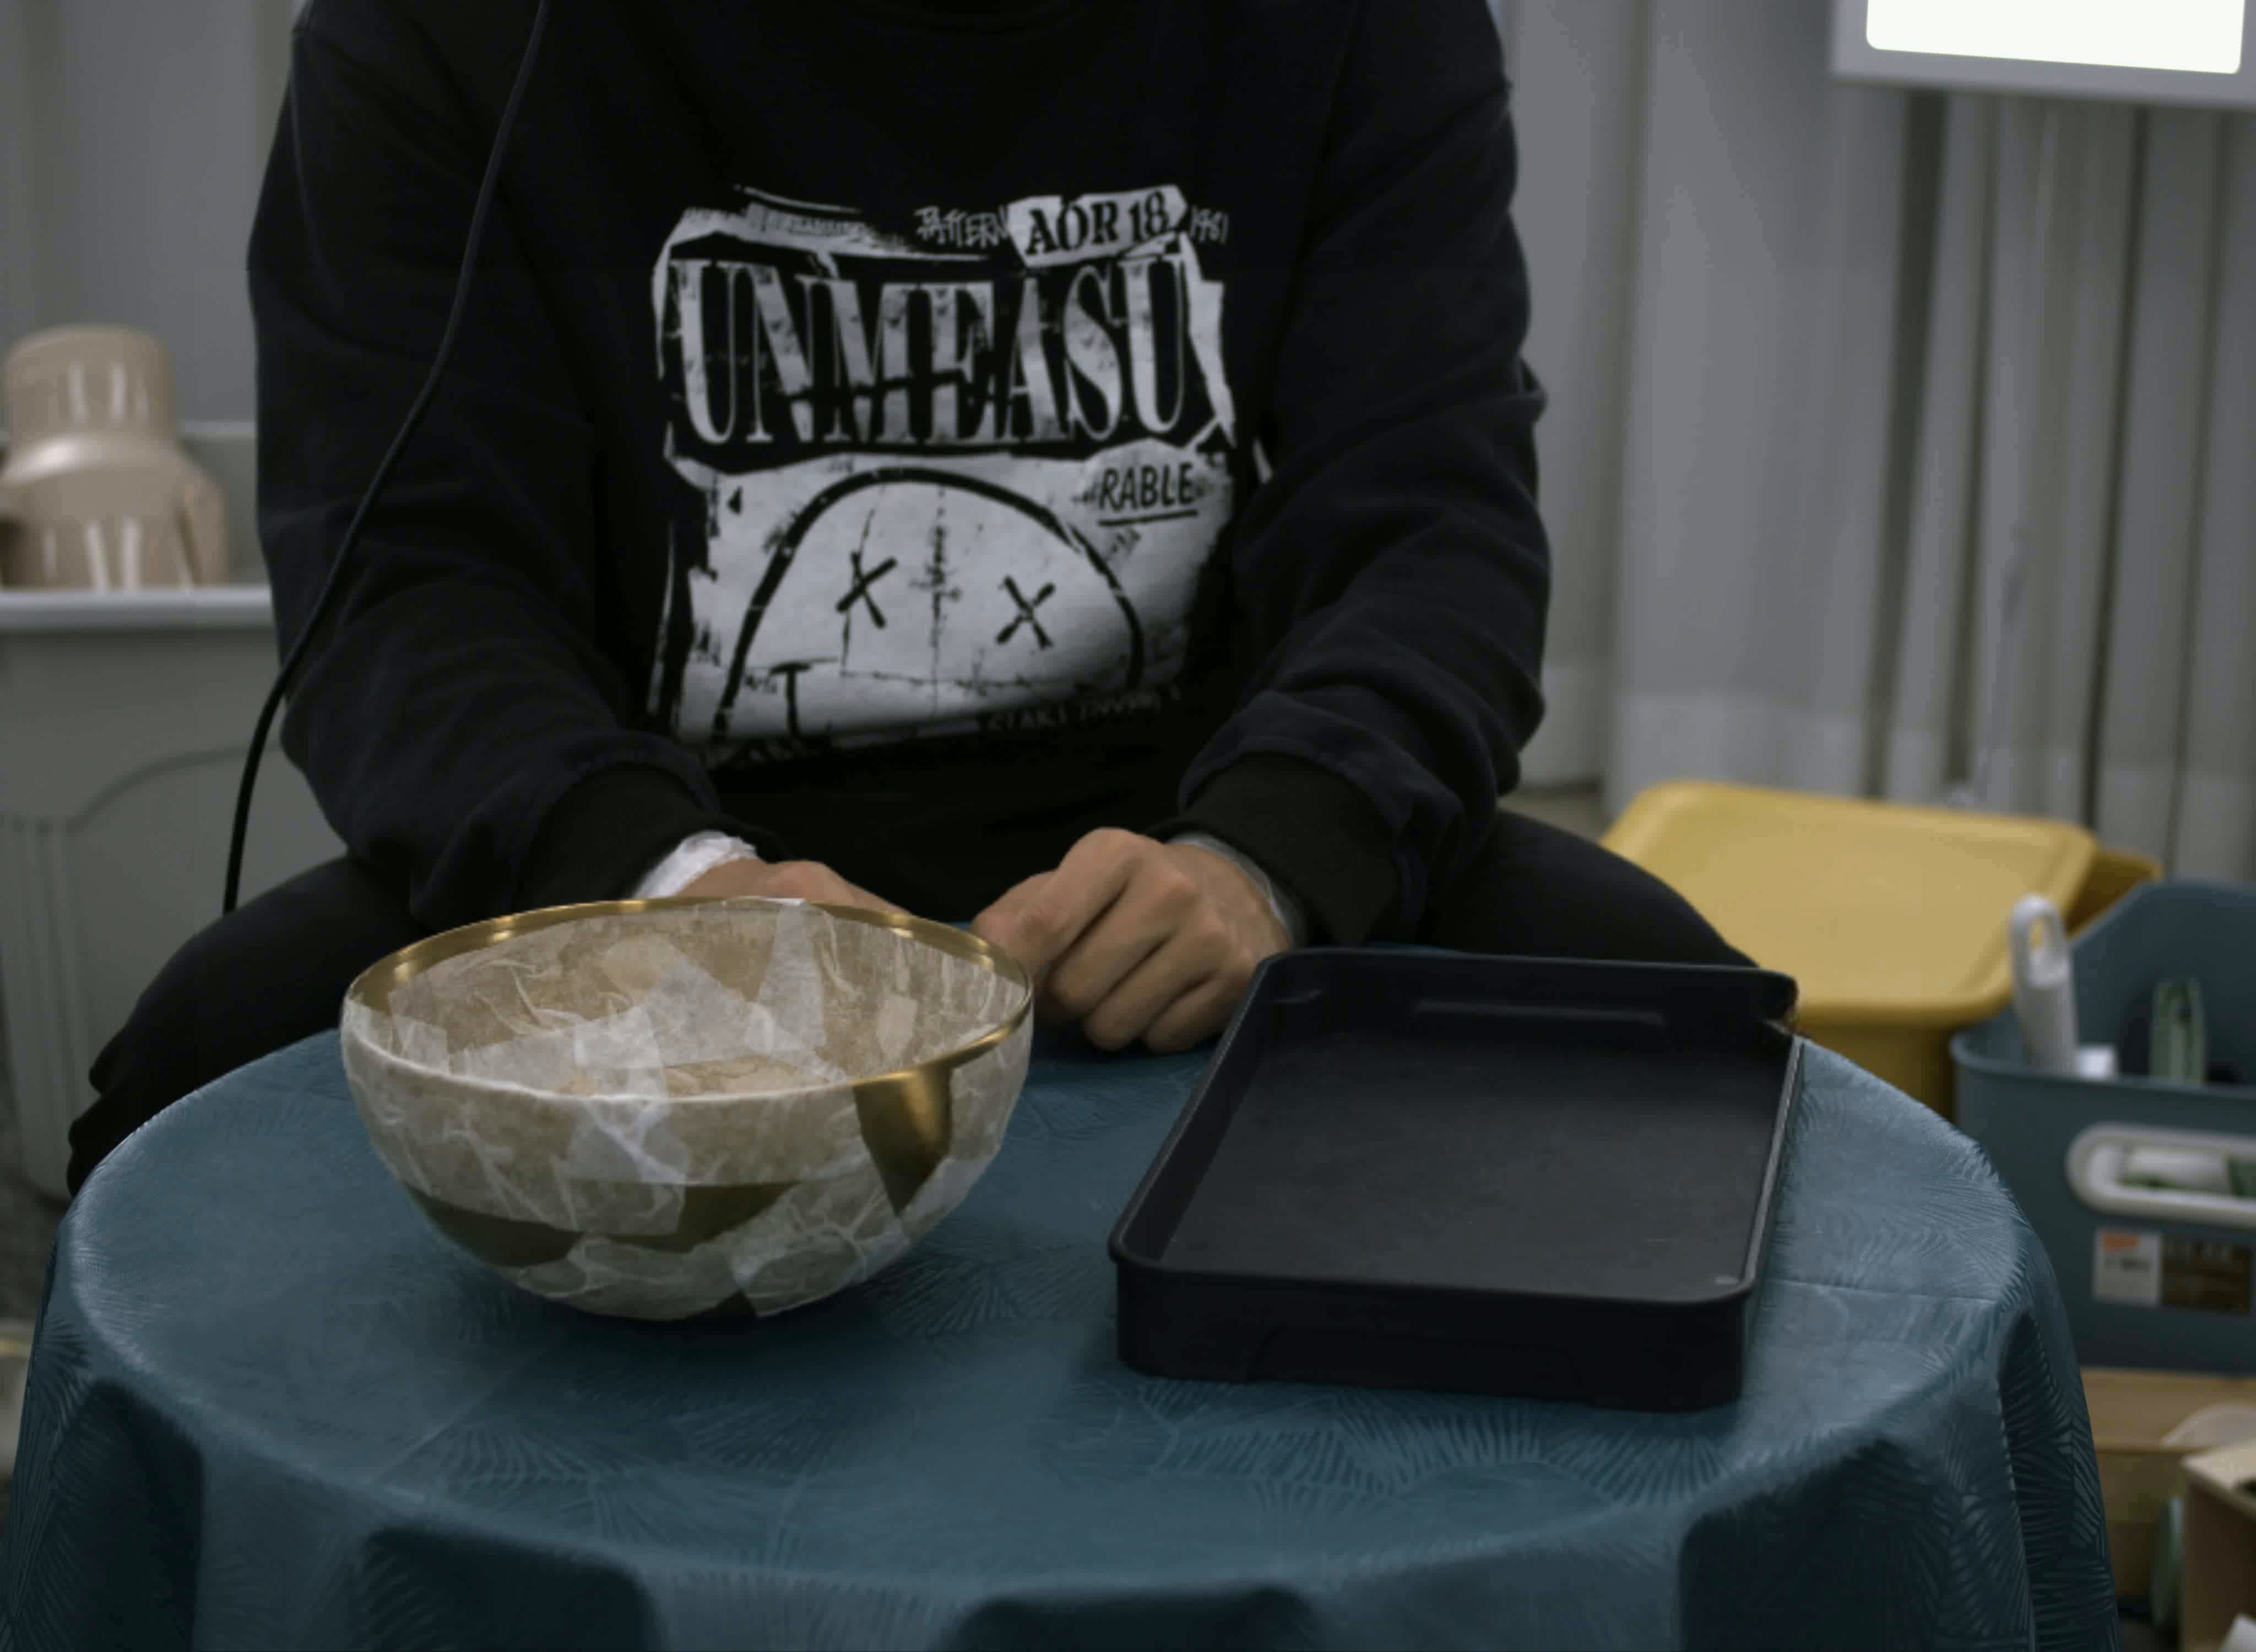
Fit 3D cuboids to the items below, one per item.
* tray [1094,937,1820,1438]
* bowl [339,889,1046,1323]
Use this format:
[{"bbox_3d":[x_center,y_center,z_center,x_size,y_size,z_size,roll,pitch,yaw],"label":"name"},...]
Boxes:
[{"bbox_3d":[0.108,0.103,1.606,0.183,0.037,0.317,4,18,11],"label":"tray"},{"bbox_3d":[-0.123,0.089,1.534,0.214,0.095,0.213,0,16,1],"label":"bowl"}]
